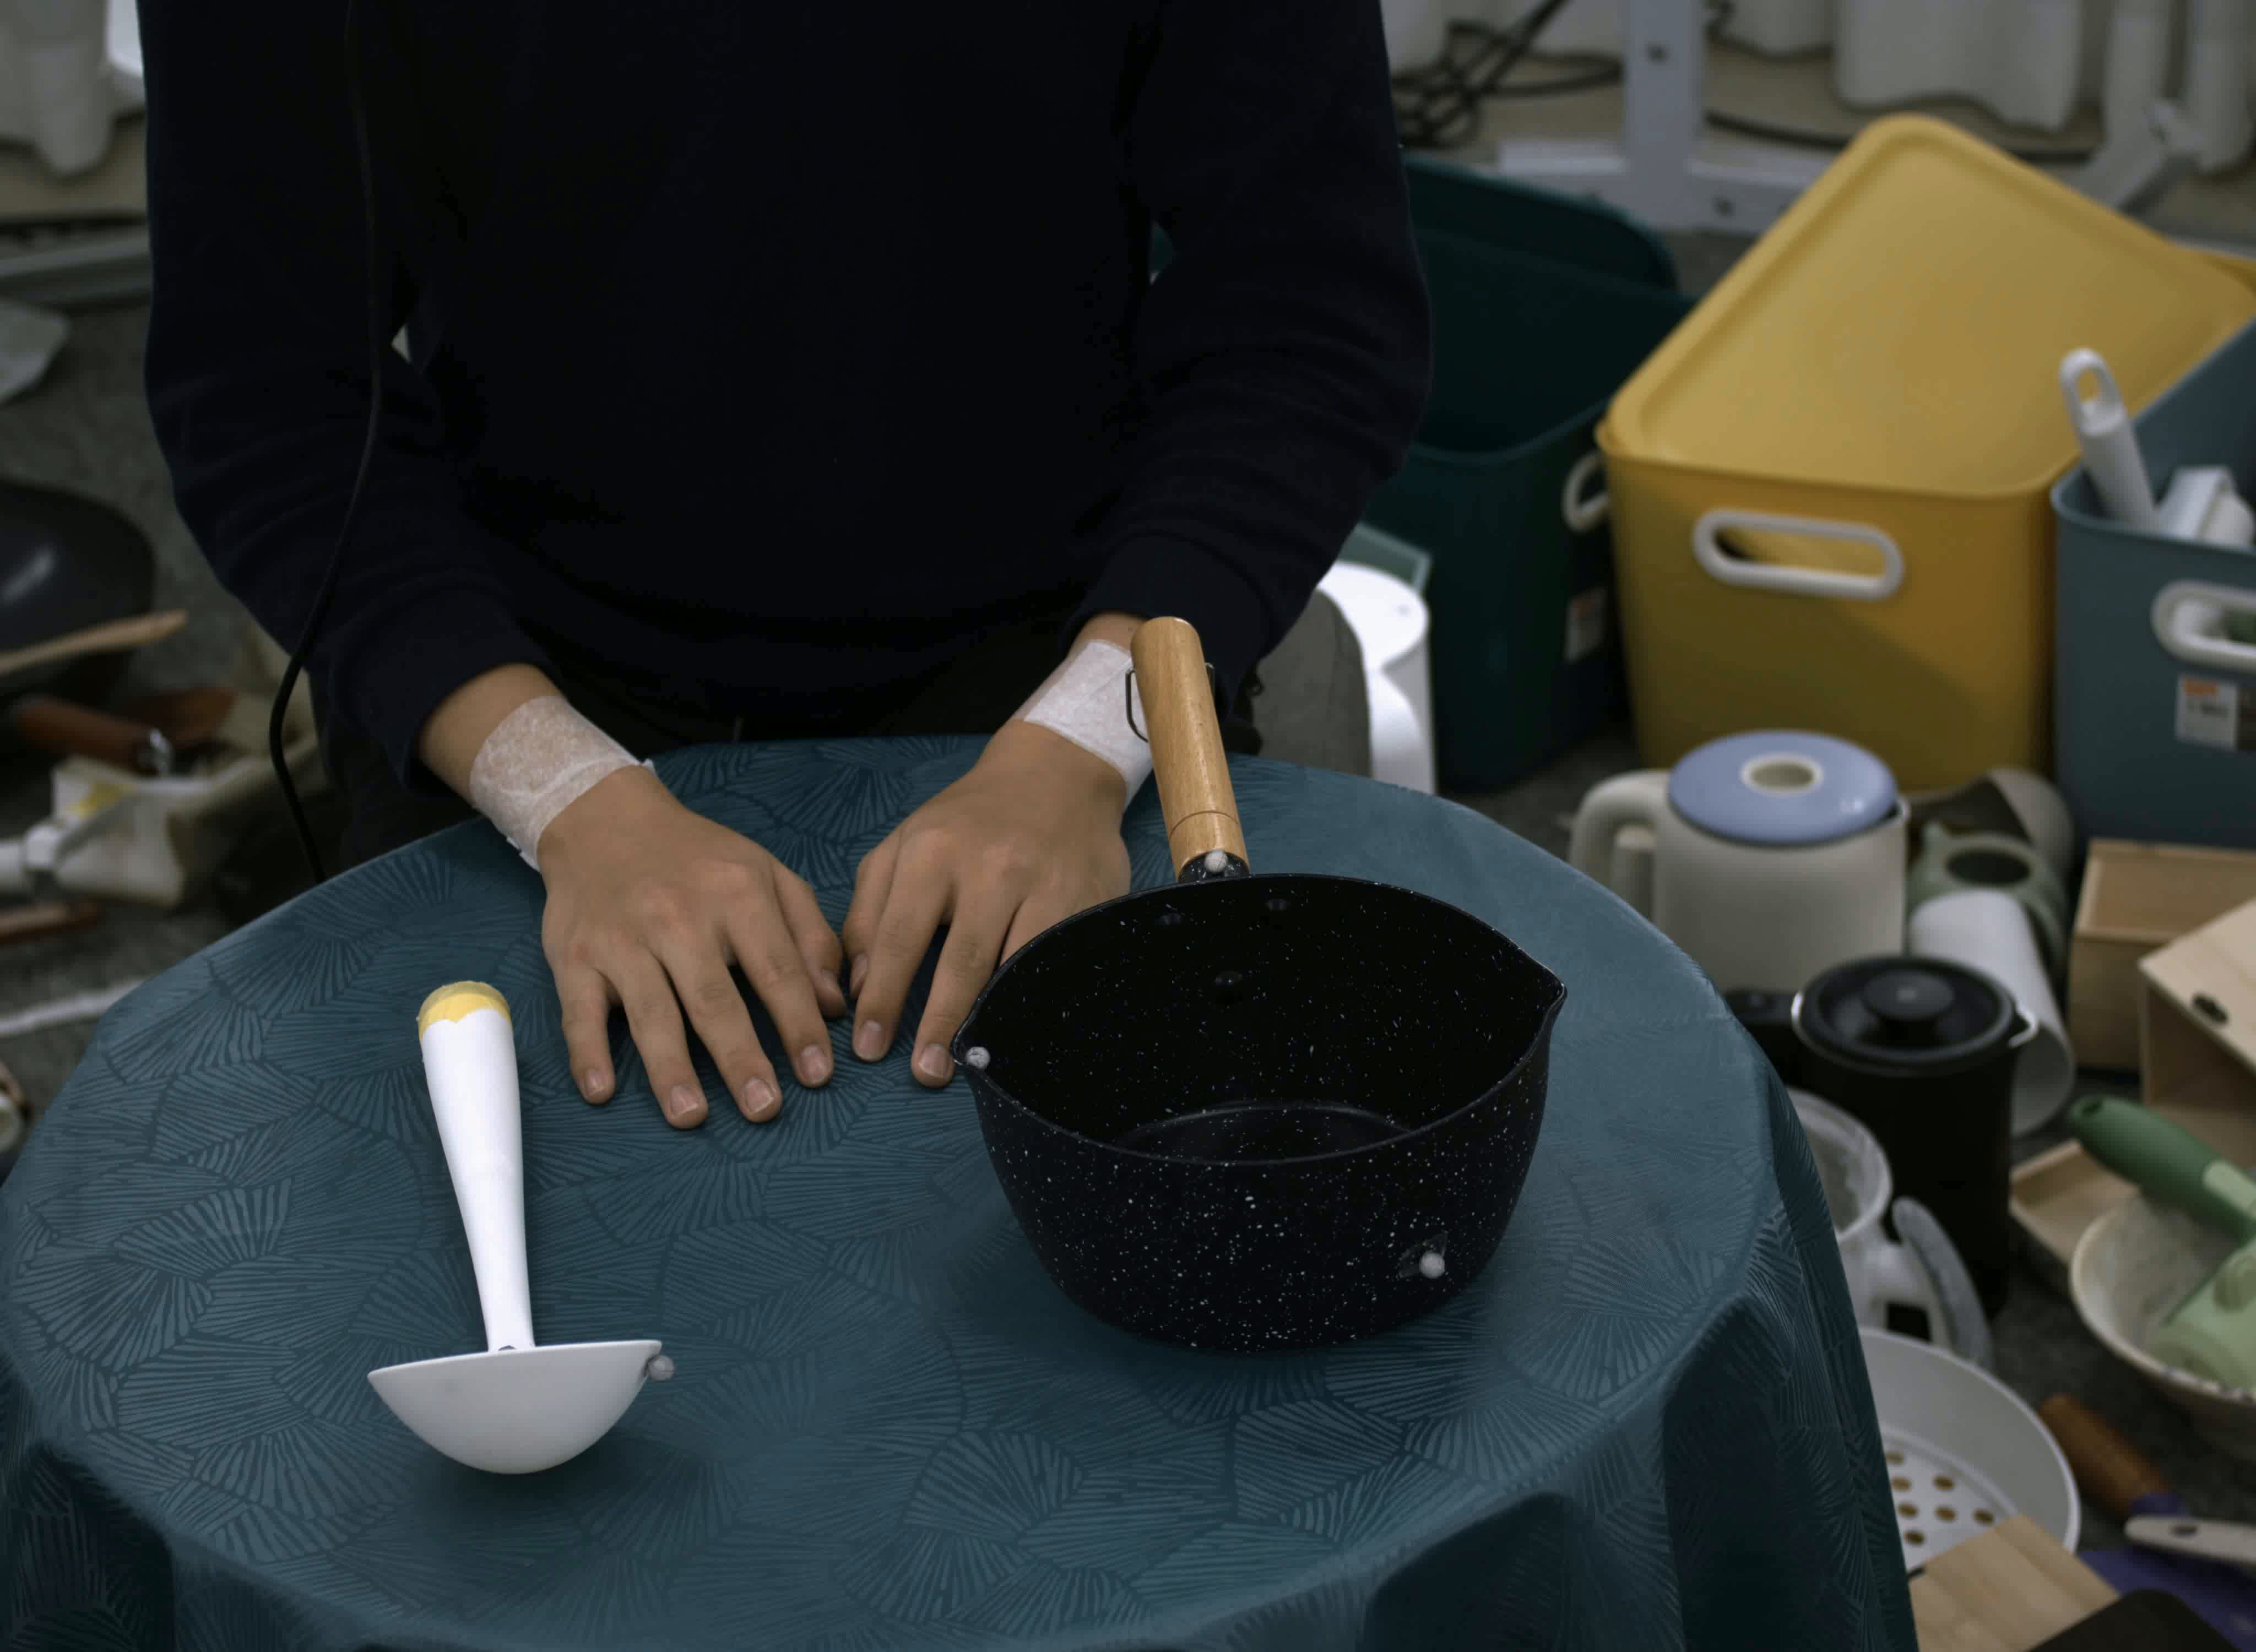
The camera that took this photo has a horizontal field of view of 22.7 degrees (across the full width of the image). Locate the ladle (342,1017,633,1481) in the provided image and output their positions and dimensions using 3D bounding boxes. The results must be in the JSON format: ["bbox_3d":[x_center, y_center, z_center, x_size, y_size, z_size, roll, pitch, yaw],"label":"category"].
[{"bbox_3d":[-0.208,0.125,1.819,0.090,0.069,0.296,-10,26,-3],"label":"ladle"}]

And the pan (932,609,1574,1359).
[{"bbox_3d":[0.032,0.049,1.882,0.207,0.107,0.347,-7,29,-5],"label":"pan"}]
